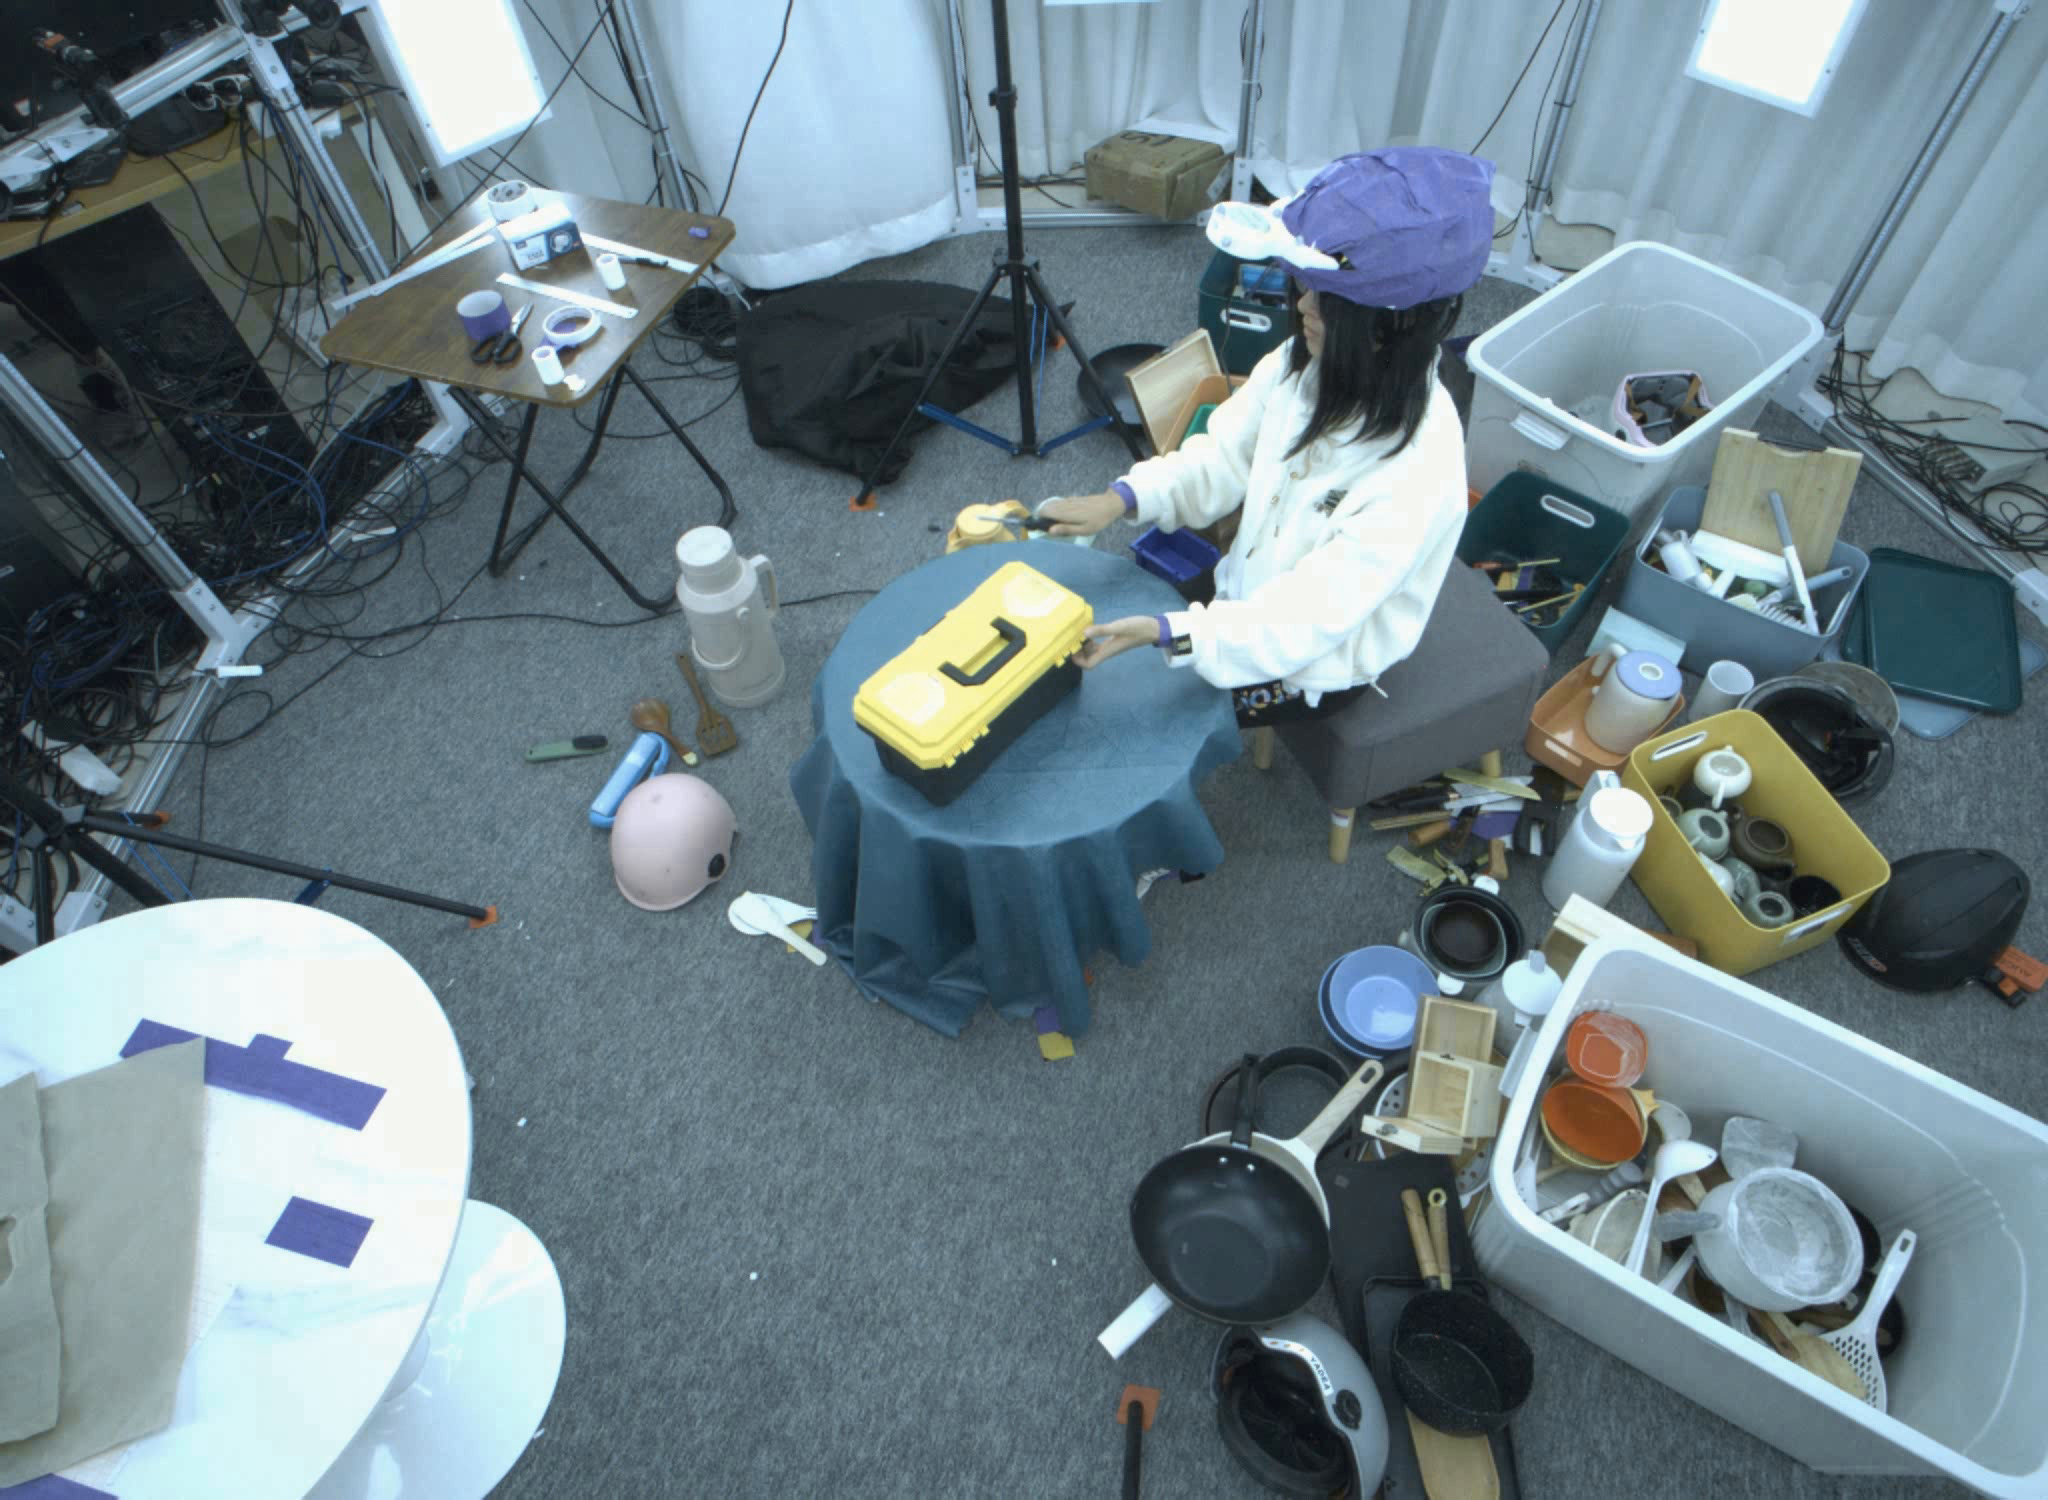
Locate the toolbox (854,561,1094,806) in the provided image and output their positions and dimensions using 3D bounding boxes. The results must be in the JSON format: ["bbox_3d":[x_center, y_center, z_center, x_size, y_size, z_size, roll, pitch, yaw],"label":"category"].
[{"bbox_3d":[-0.065,-0.096,1.751,0.178,0.175,0.353,35,63,24],"label":"toolbox"}]

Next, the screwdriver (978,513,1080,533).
[{"bbox_3d":[0.006,-0.353,1.859,0.200,0.031,0.031,0,46,-40],"label":"screwdriver"}]
